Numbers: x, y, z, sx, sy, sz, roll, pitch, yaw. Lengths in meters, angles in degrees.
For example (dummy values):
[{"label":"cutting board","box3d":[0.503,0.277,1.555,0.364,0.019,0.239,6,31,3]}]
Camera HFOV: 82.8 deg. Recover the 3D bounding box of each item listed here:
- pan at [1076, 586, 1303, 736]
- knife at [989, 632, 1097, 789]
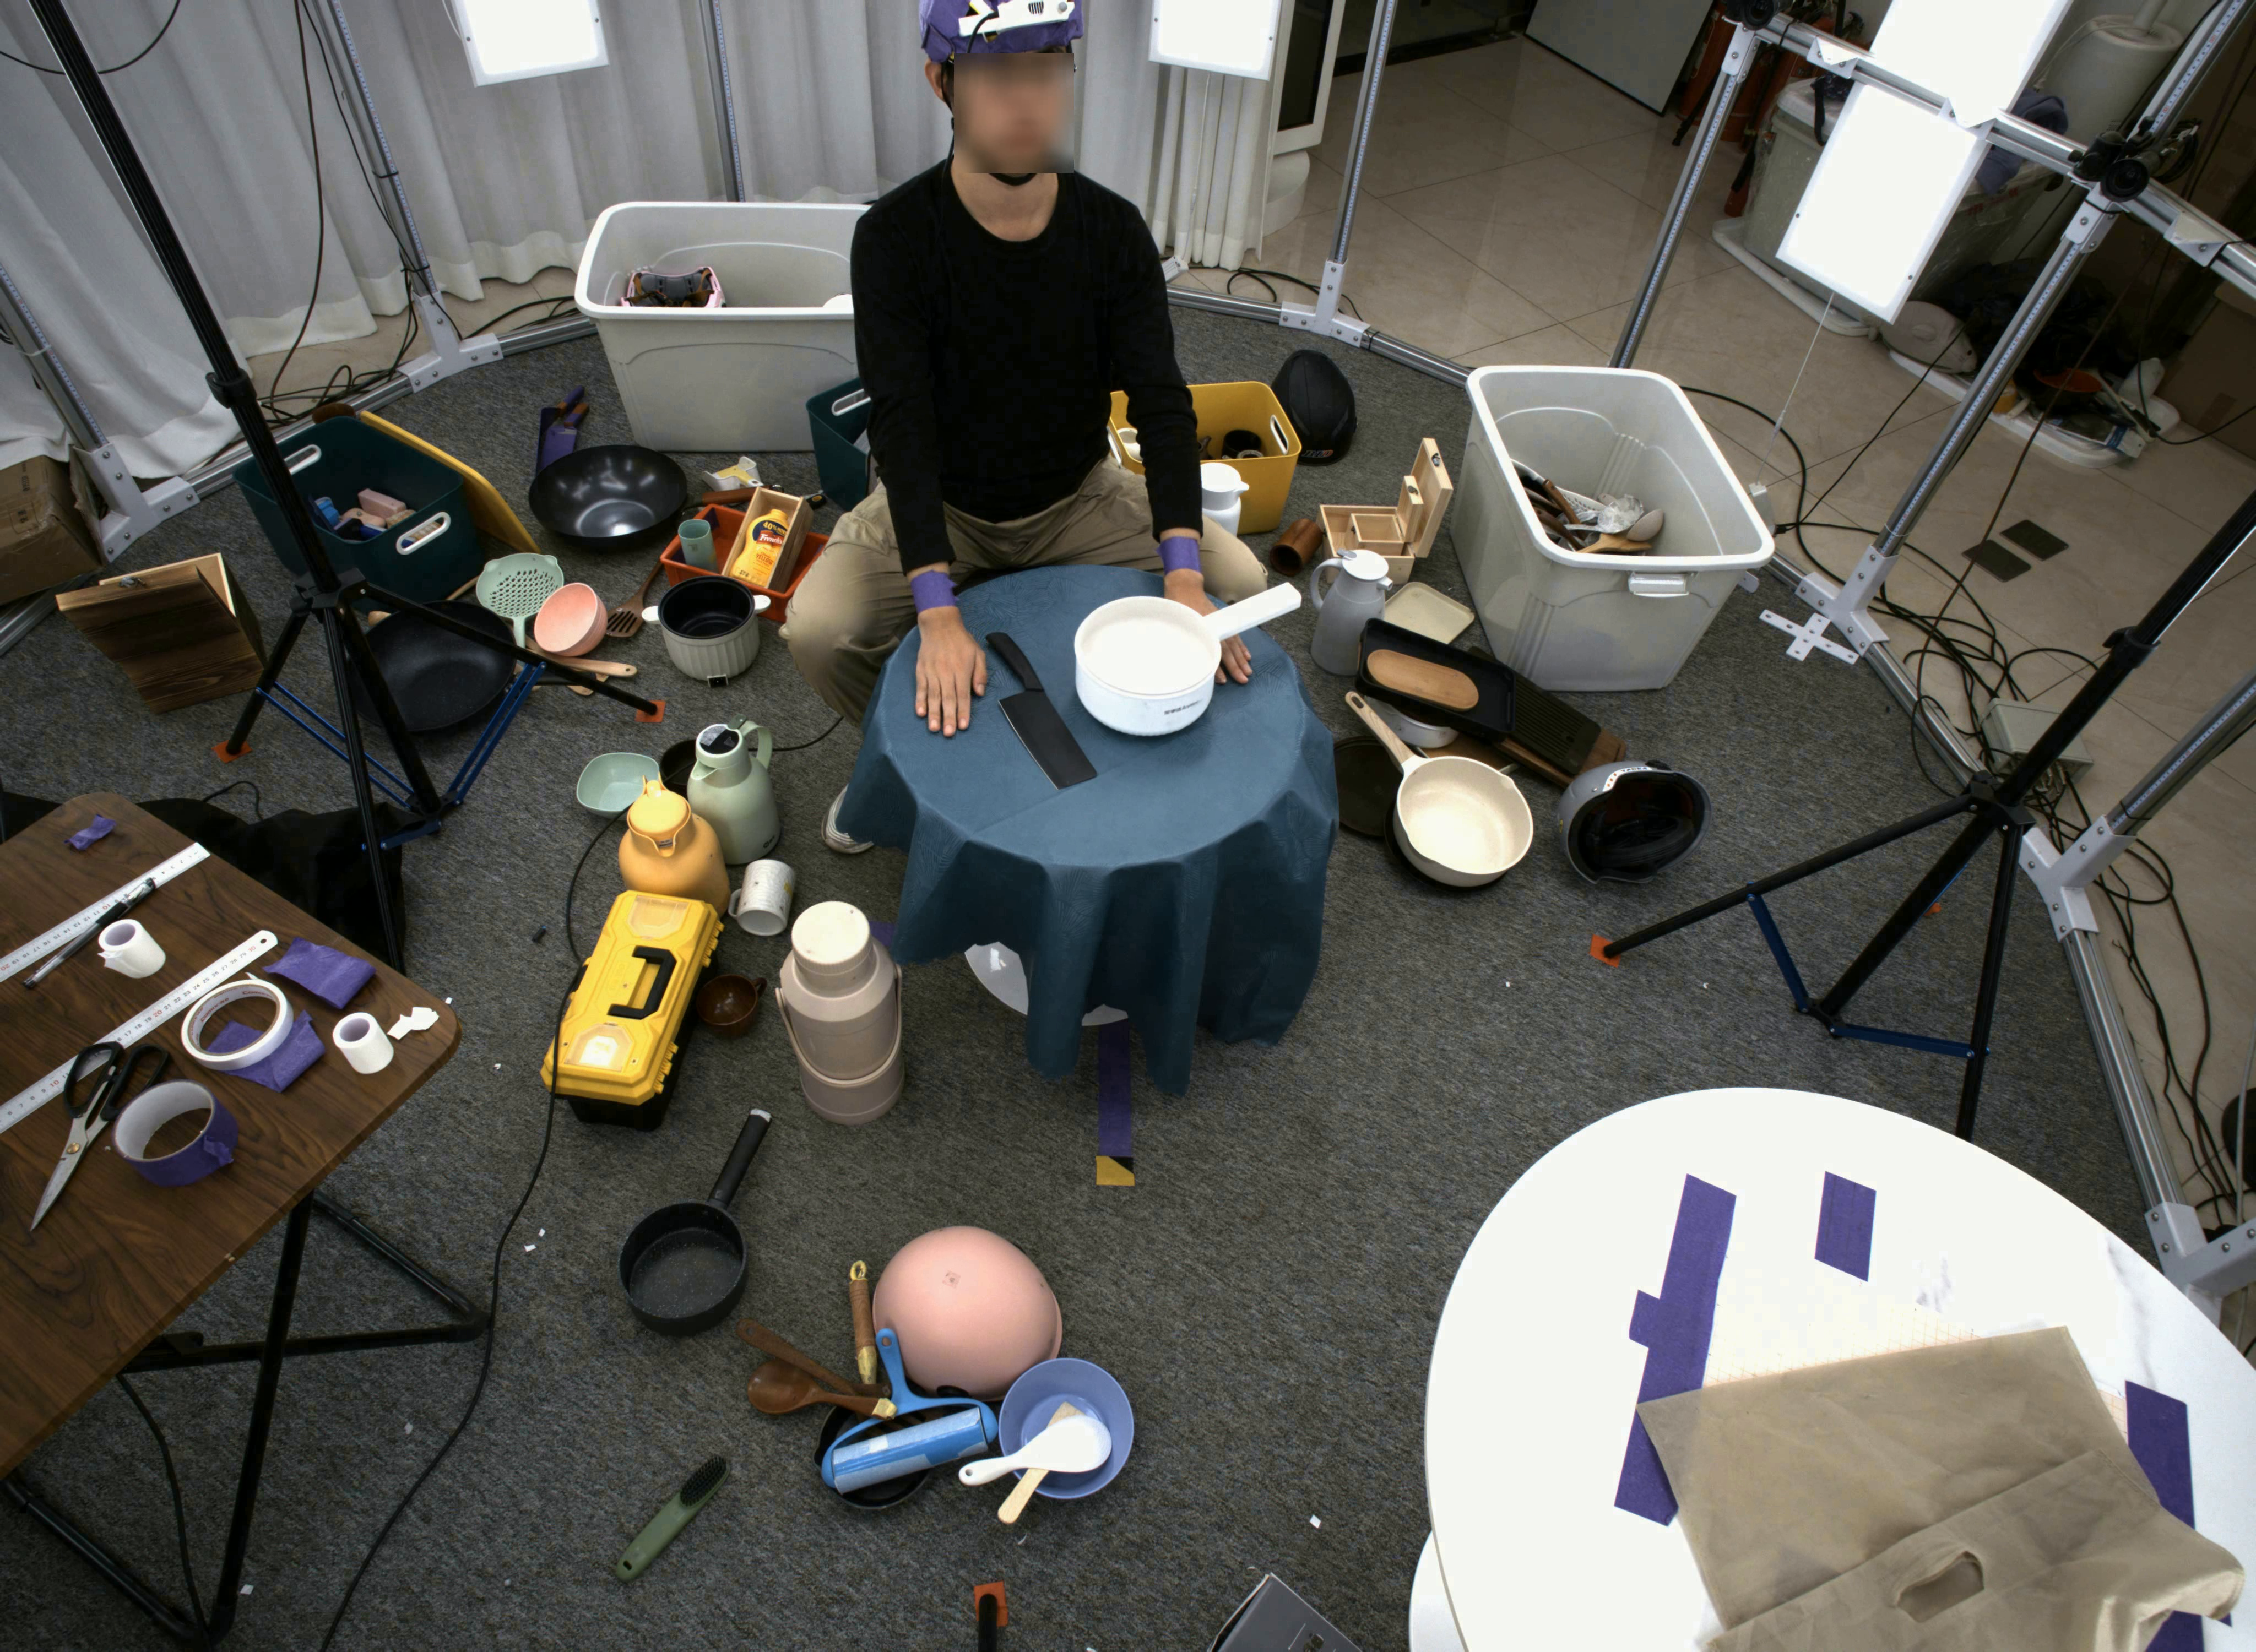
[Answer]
[{"label":"pan","box3d":[0.091,-0.246,1.826,0.356,0.099,0.205,-23,54,-23]},{"label":"knife","box3d":[-0.133,-0.167,1.797,0.081,0.020,0.309,-16,54,-16]}]
